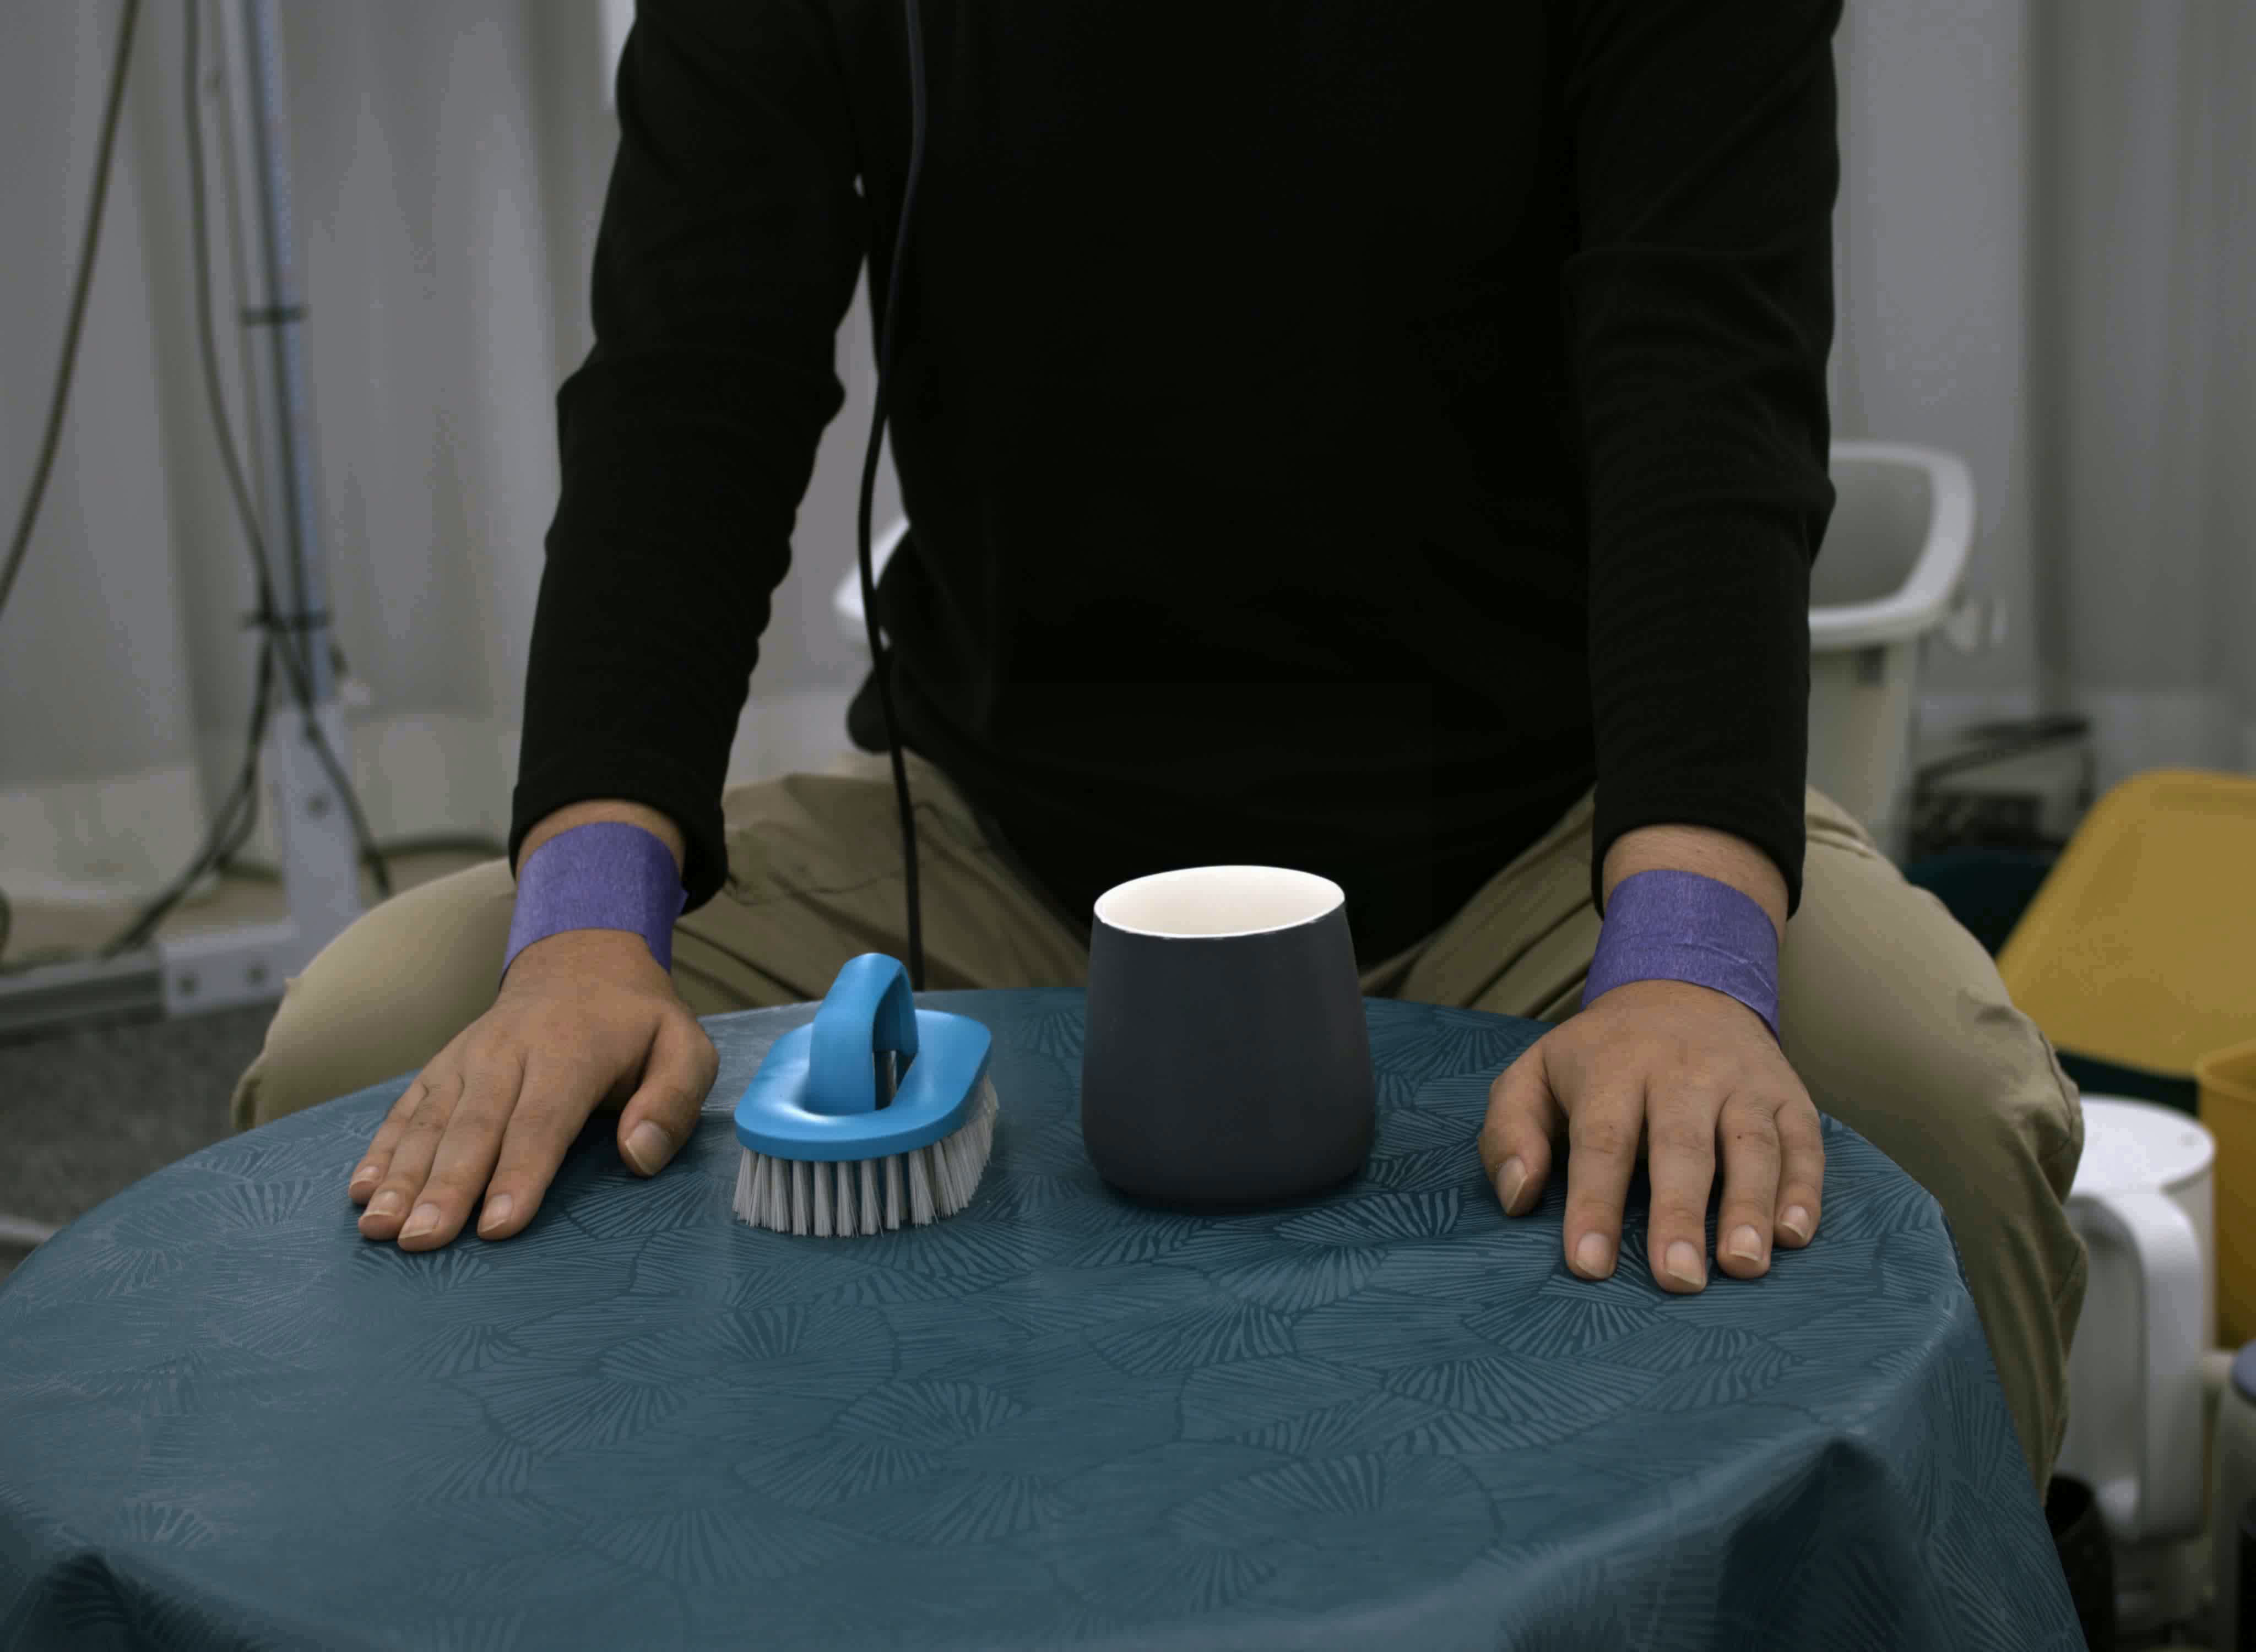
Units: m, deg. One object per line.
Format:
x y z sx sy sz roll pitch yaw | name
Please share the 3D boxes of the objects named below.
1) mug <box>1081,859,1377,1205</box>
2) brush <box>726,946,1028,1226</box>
0.034 0.060 1.731 0.093 0.089 0.124 1 17 14 | mug
-0.081 0.077 1.746 0.084 0.063 0.142 -5 13 10 | brush
